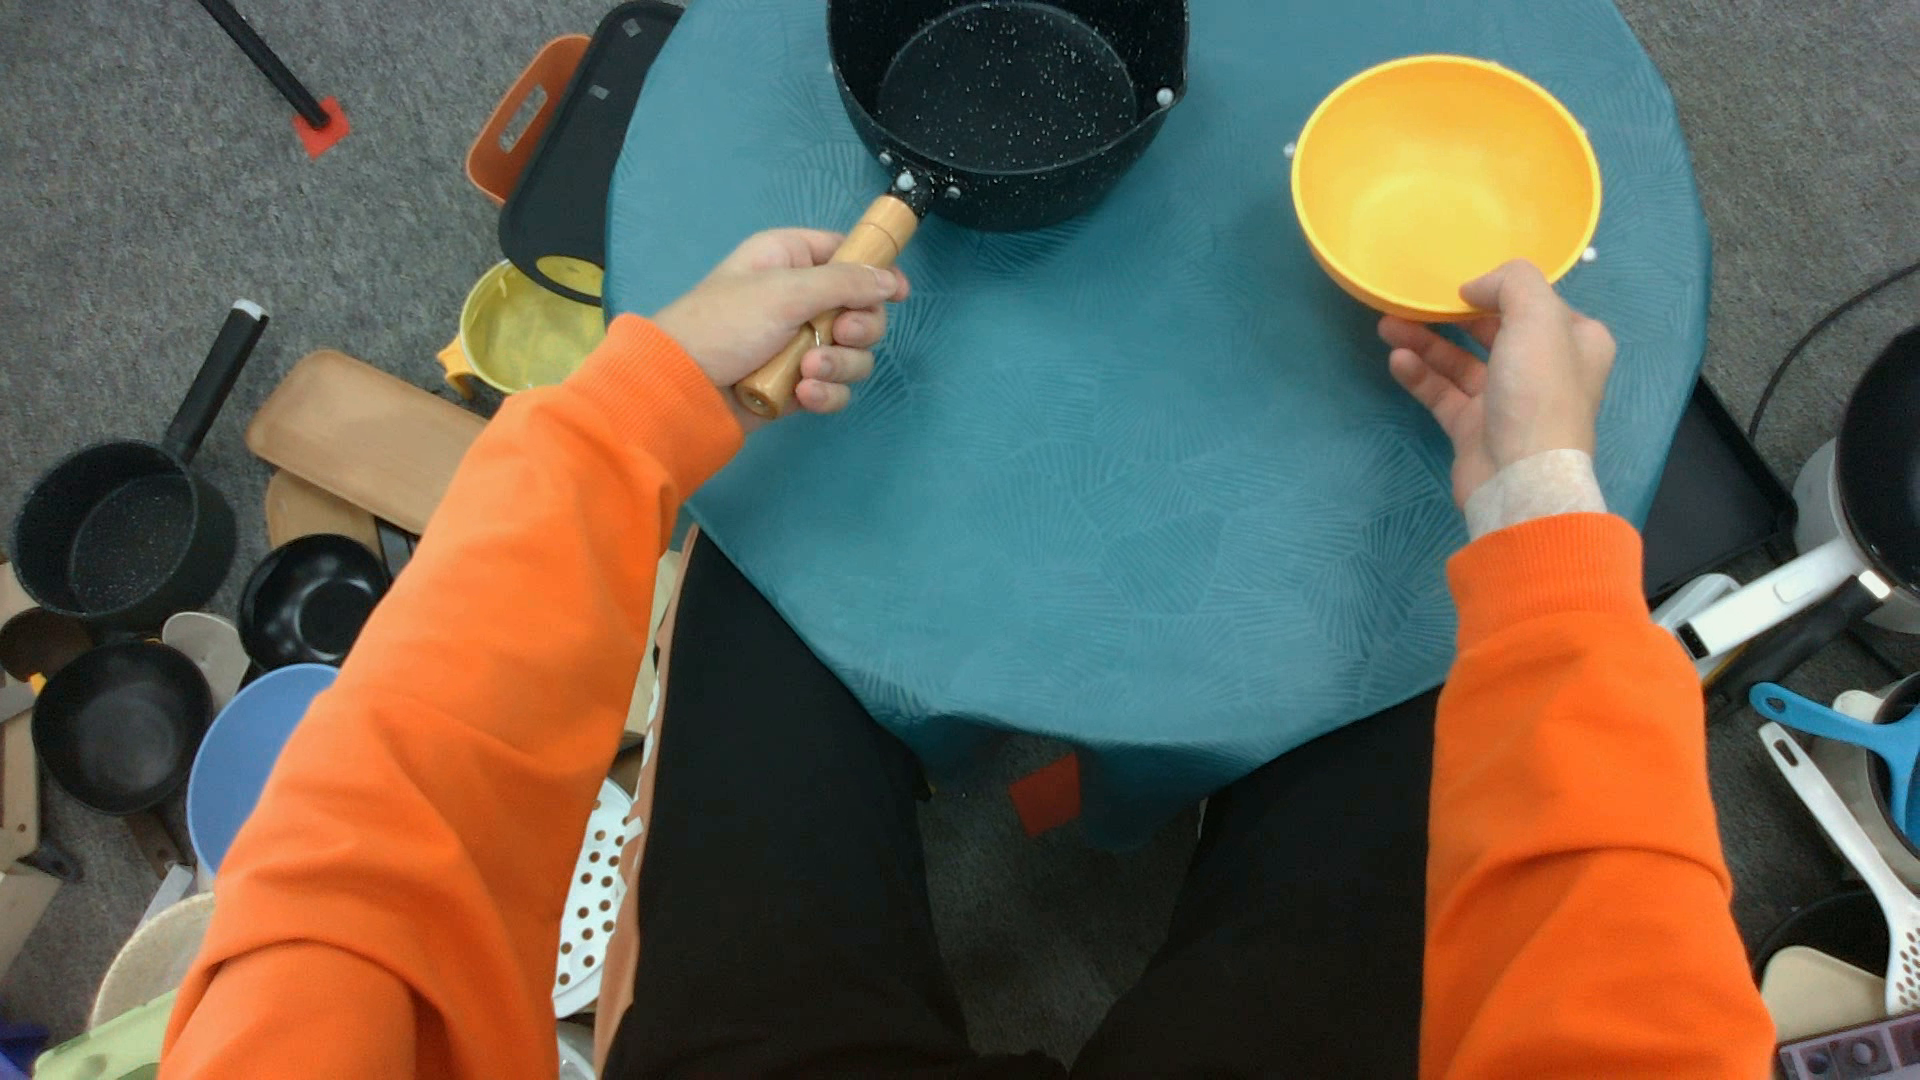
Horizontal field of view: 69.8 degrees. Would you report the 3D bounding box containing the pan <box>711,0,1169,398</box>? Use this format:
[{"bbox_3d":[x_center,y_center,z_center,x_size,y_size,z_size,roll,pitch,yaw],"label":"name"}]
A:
[{"bbox_3d":[-0.022,-0.197,0.705,0.207,0.108,0.344,26,73,7],"label":"pan"}]

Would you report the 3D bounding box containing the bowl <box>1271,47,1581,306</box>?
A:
[{"bbox_3d":[0.228,-0.172,0.693,0.145,0.060,0.146,-2,68,7],"label":"bowl"}]
